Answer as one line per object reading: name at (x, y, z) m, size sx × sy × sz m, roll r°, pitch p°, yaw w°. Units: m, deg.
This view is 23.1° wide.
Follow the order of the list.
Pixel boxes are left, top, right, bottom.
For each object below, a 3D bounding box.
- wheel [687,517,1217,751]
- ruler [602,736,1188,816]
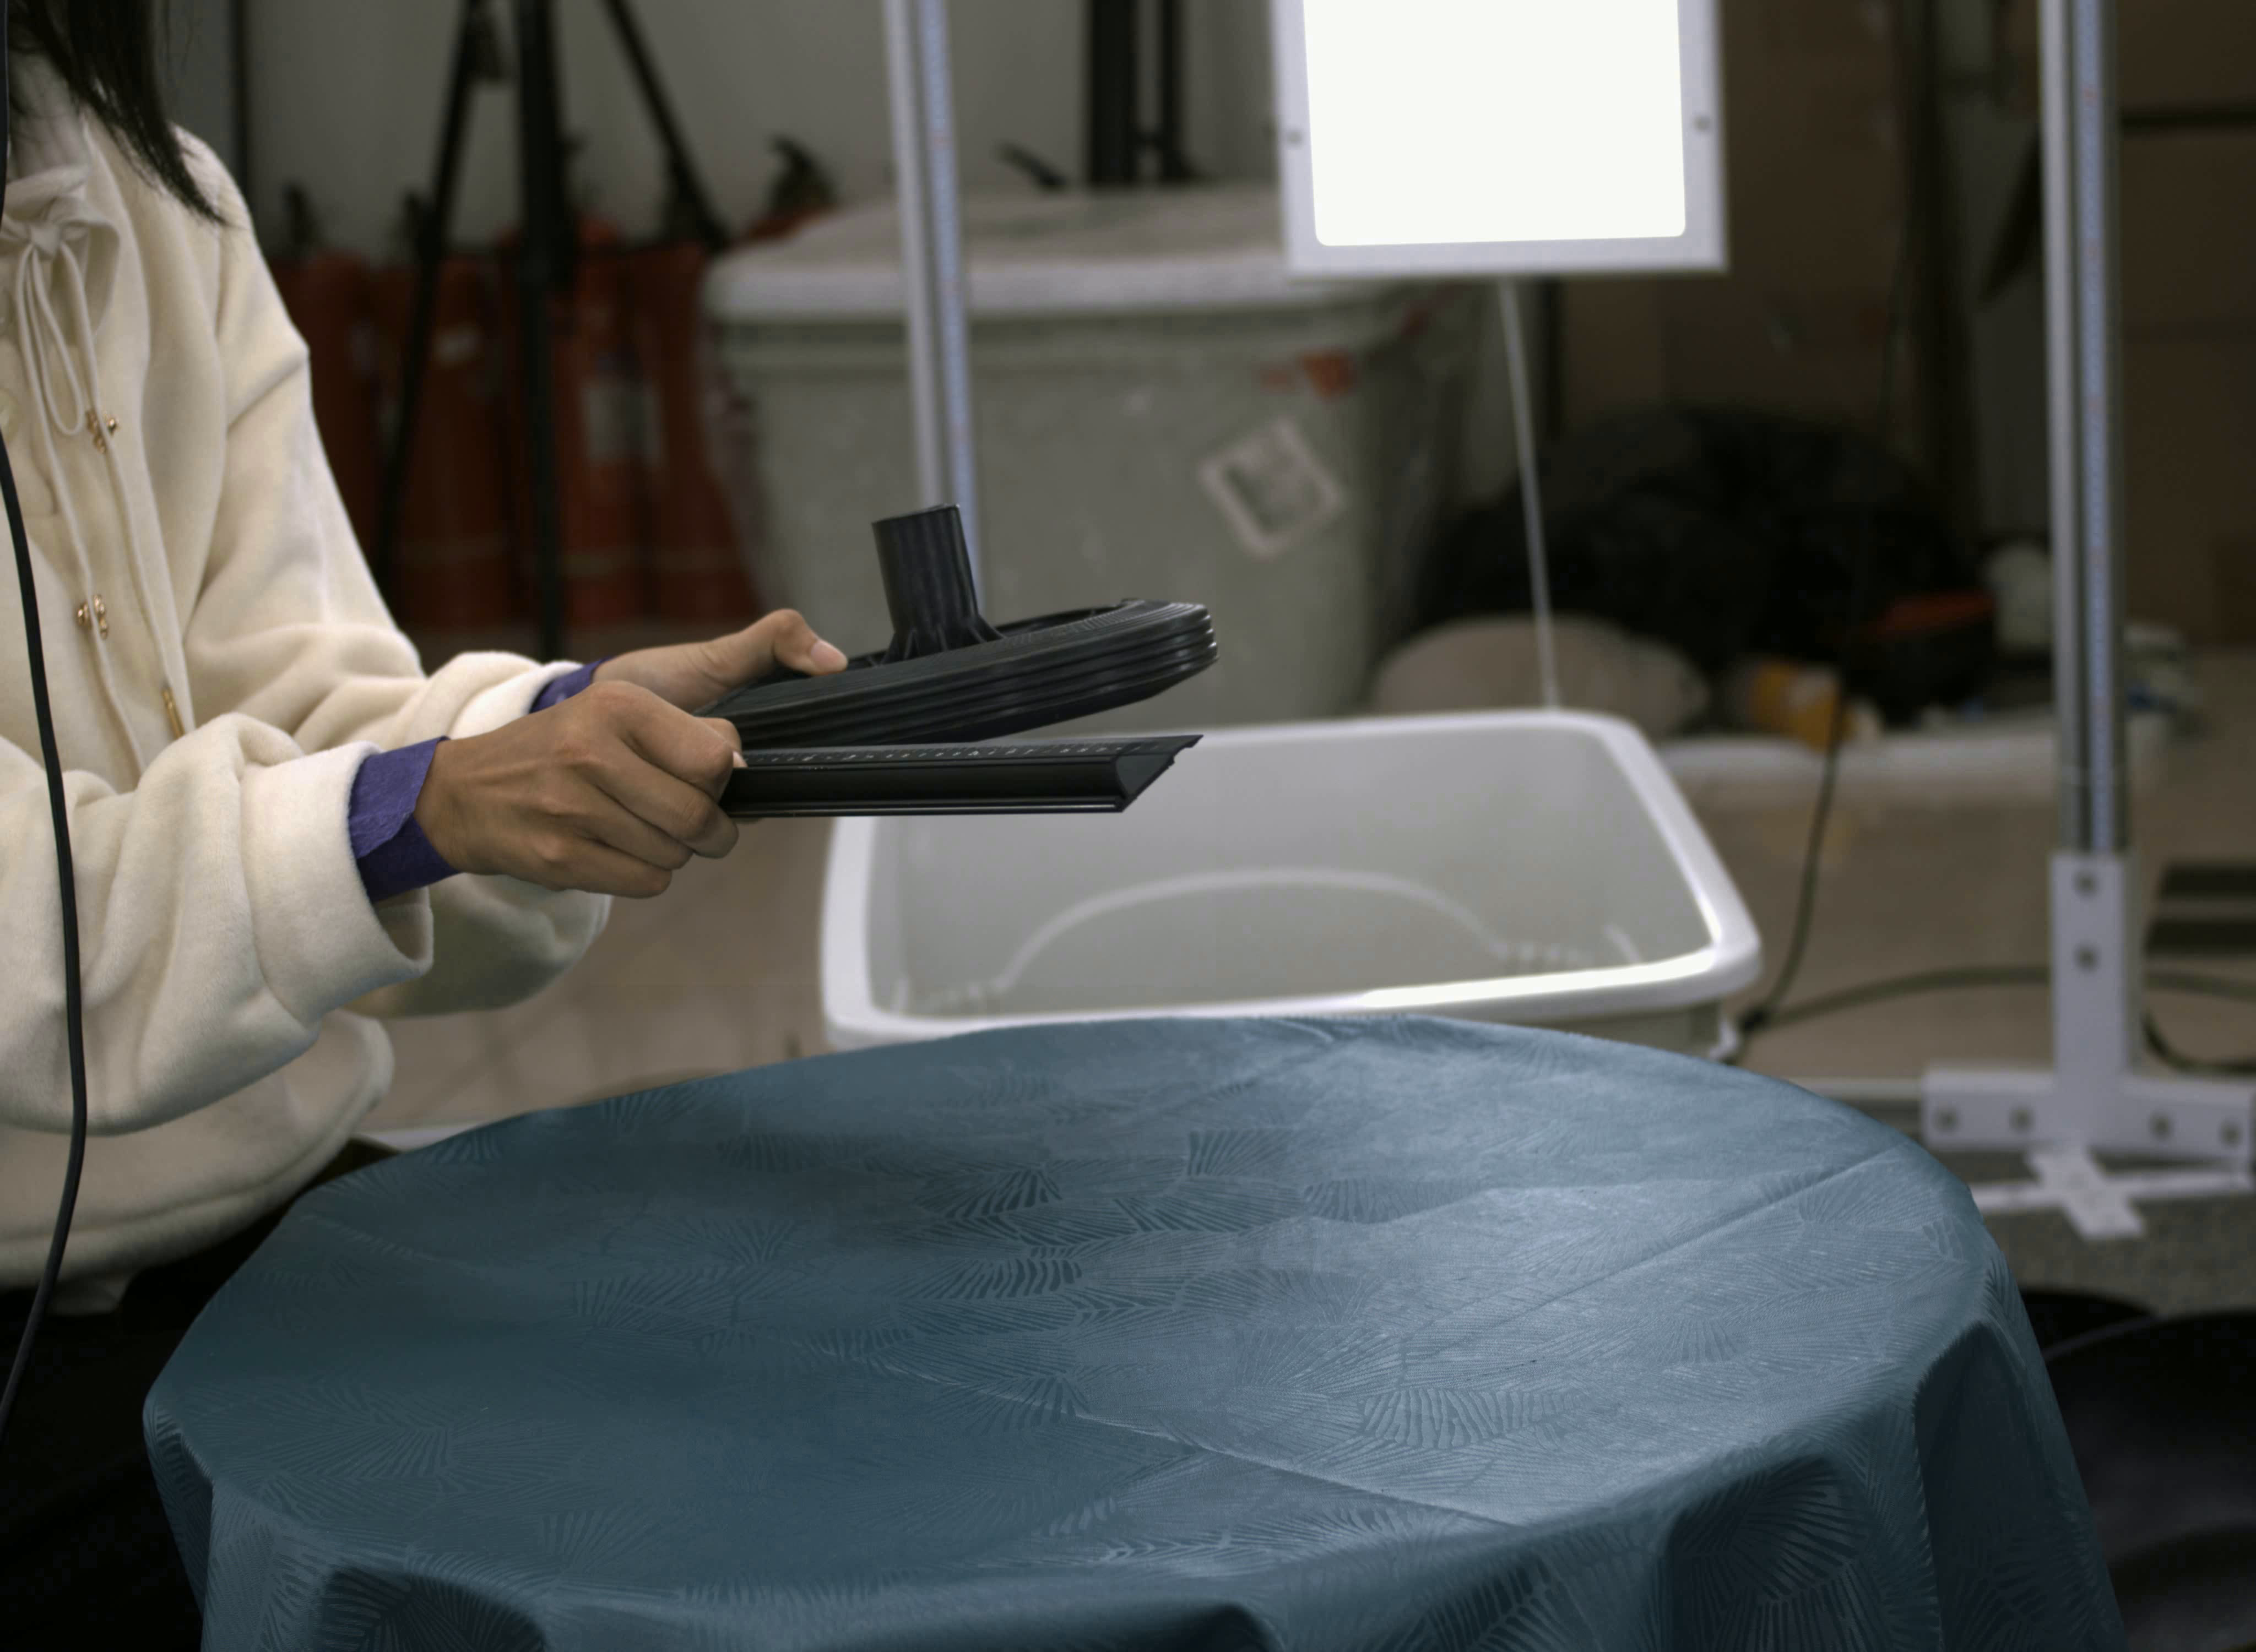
wheel at (-0.066, -0.066, 1.918) m, size 0.189 × 0.079 × 0.187 m, roll -11°, pitch 4°, yaw 14°
ruler at (-0.081, -0.021, 1.759) m, size 0.038 × 0.017 × 0.319 m, roll -39°, pitch 20°, yaw -27°
